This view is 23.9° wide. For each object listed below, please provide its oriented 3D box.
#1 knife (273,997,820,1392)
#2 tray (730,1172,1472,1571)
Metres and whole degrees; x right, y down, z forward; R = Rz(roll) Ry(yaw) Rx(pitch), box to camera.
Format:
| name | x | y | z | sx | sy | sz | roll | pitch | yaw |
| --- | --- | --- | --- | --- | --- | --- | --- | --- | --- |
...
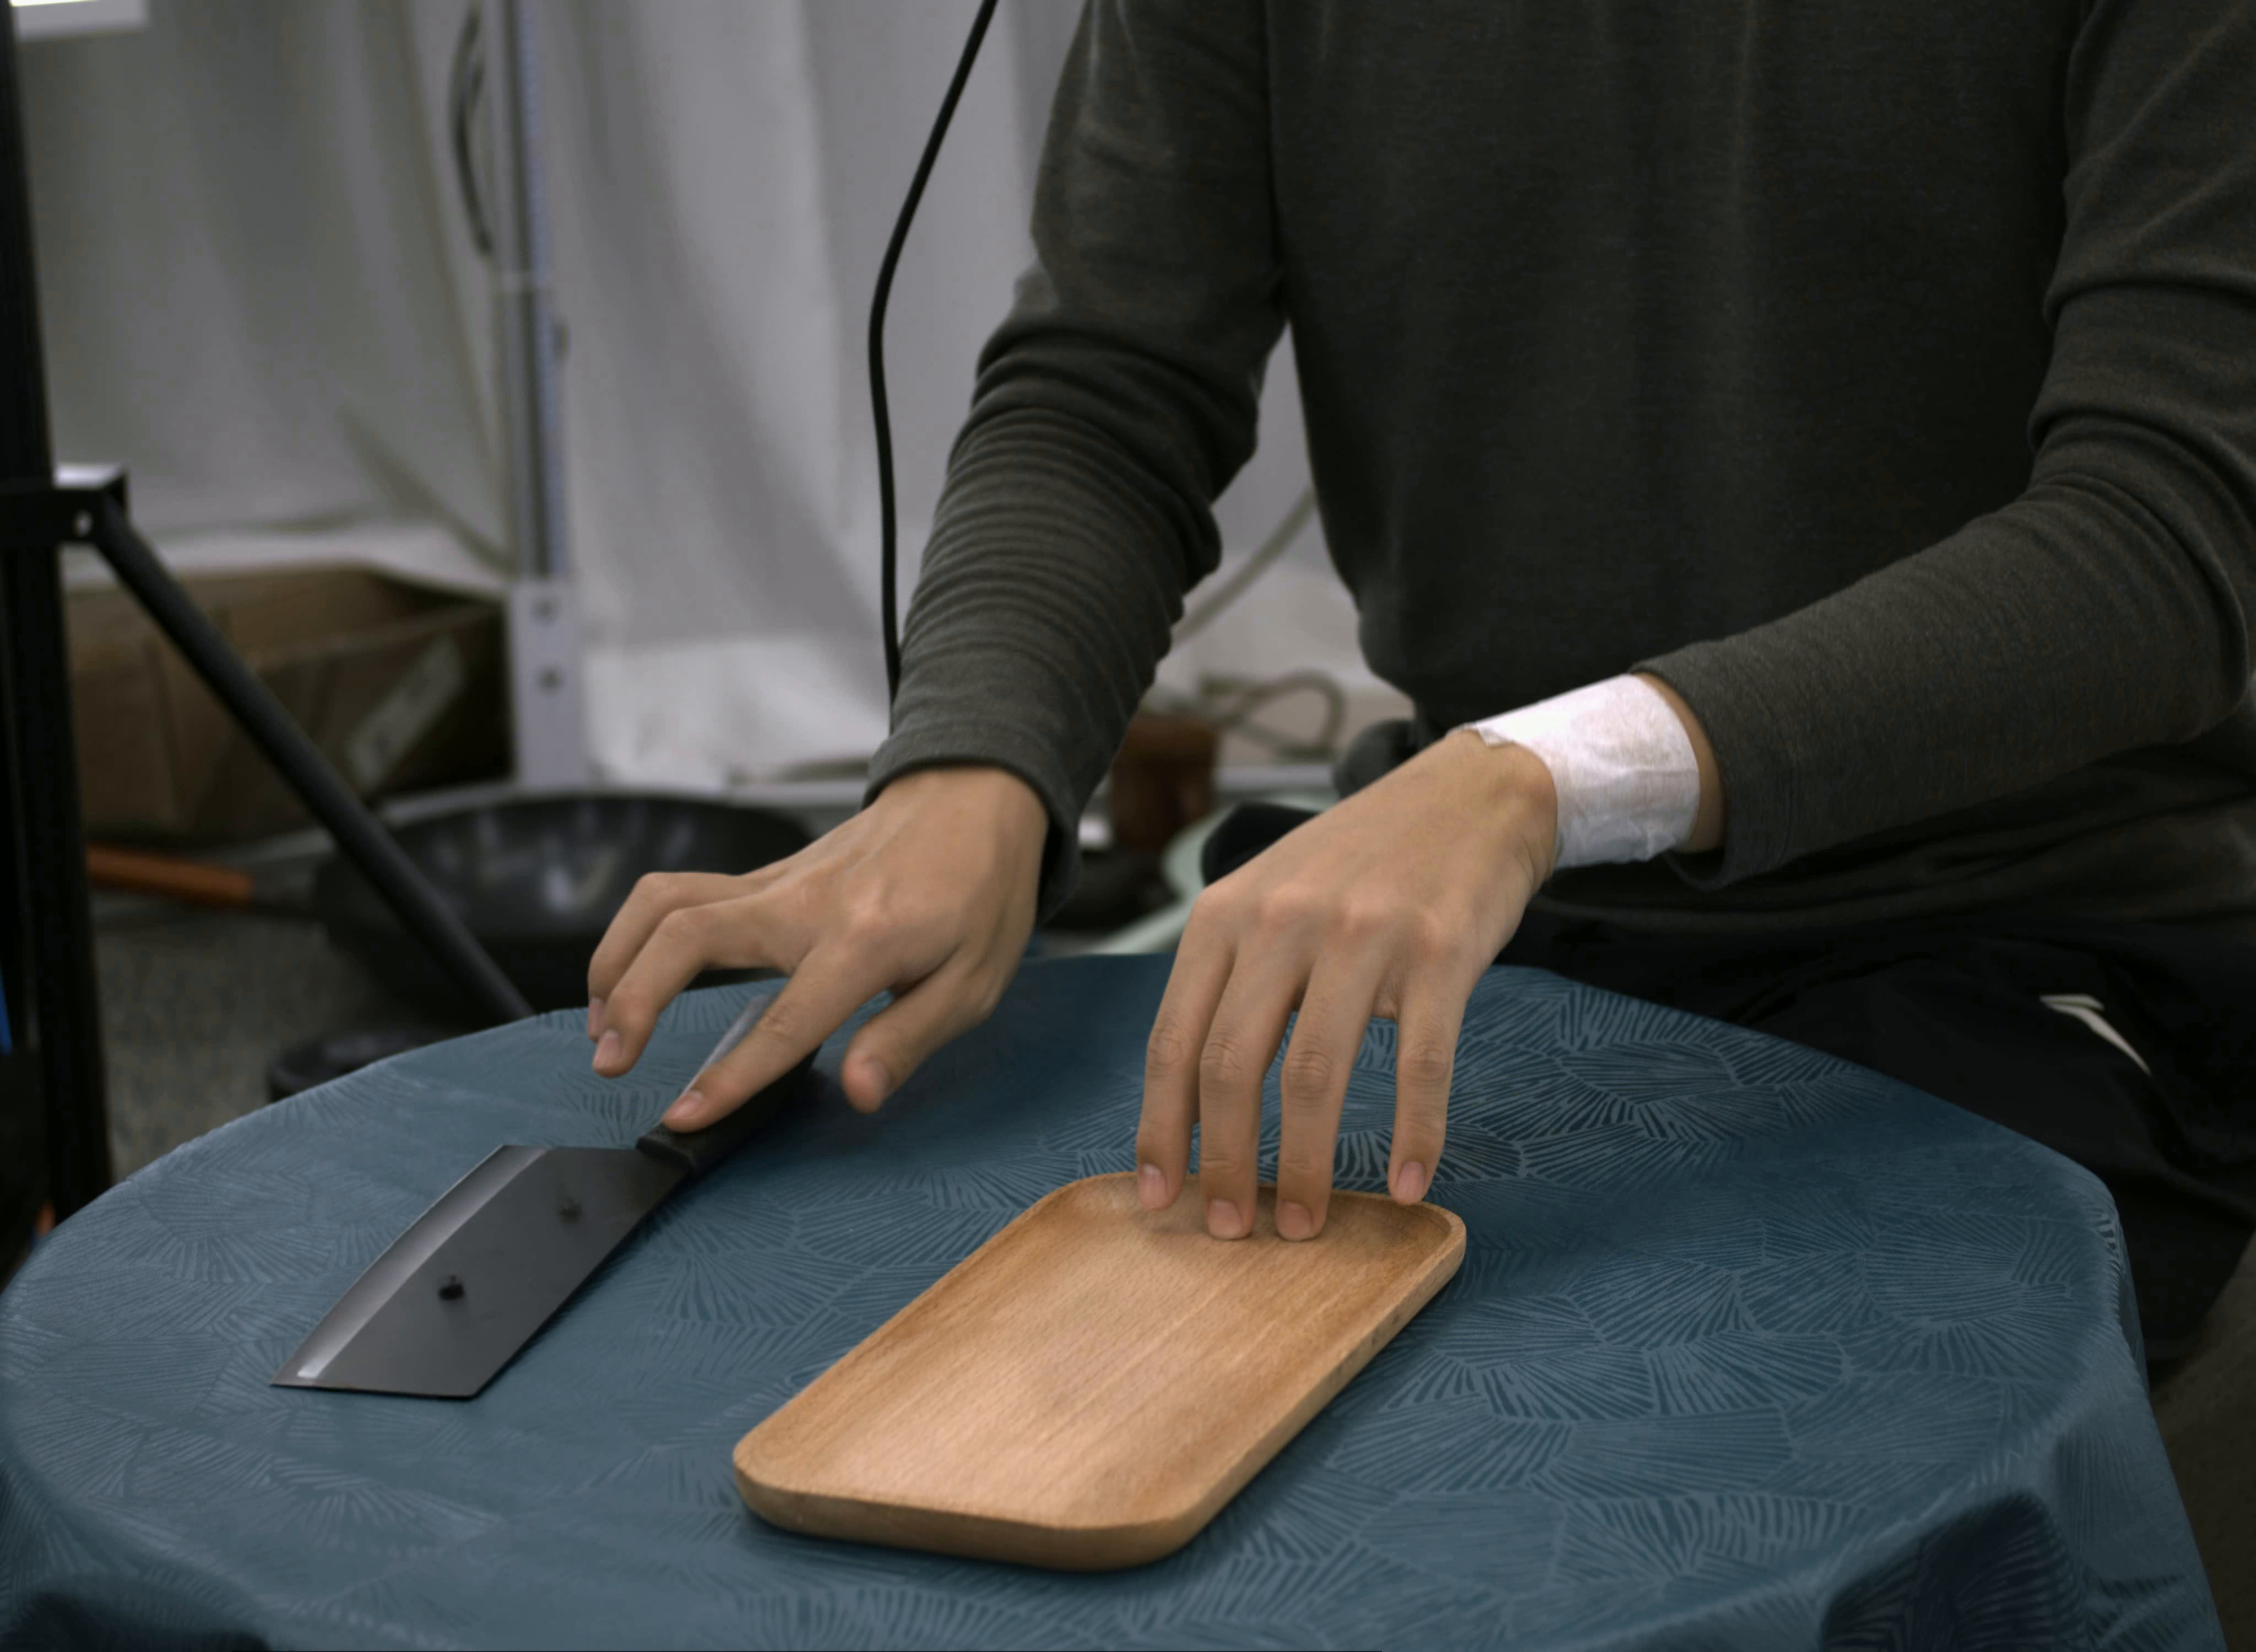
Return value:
| name | x | y | z | sx | sy | sz | roll | pitch | yaw |
| --- | --- | --- | --- | --- | --- | --- | --- | --- | --- |
| knife | -0.161 | 0.107 | 1.568 | 0.082 | 0.021 | 0.299 | 4 | 19 | 20 |
| tray | -0.002 | 0.142 | 1.414 | 0.132 | 0.023 | 0.247 | 7 | 17 | 23 |
